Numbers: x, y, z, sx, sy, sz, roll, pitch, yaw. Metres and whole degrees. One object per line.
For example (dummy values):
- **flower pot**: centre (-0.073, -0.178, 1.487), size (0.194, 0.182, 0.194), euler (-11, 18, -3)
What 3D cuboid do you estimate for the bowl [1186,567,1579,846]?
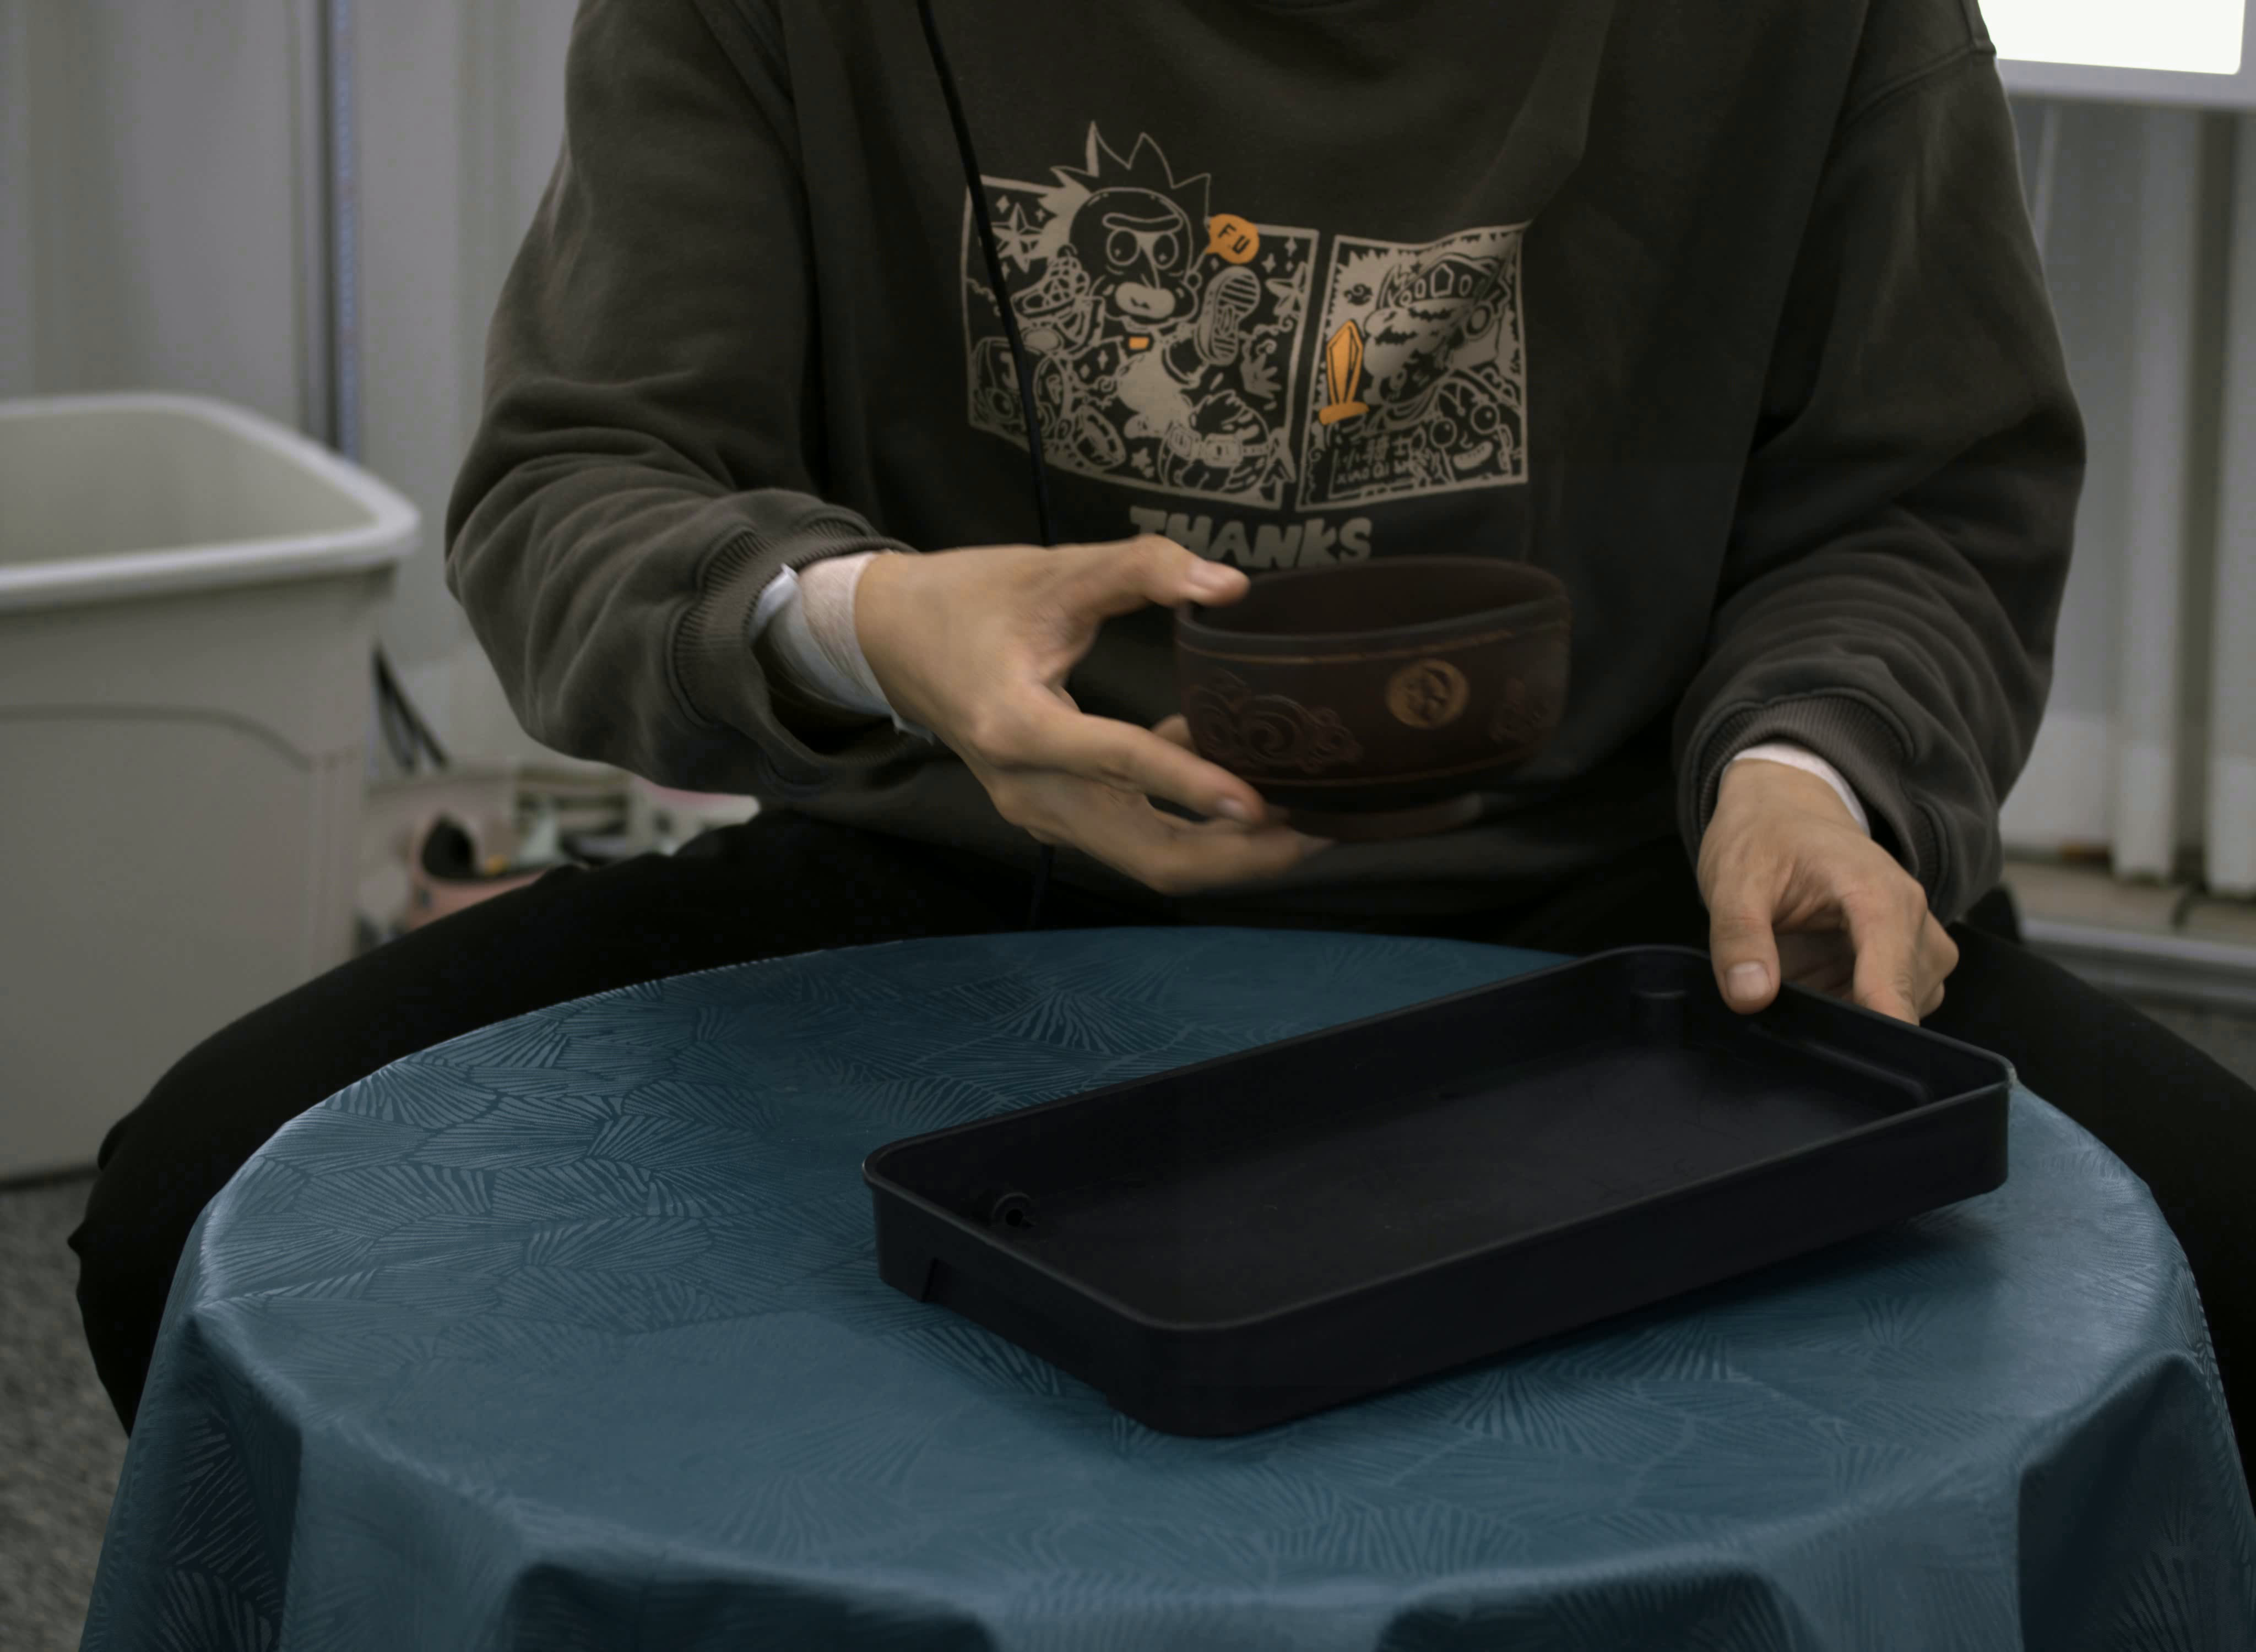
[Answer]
- **bowl**: centre (0.077, -0.034, 1.575), size (0.117, 0.070, 0.117), euler (-5, 11, 2)

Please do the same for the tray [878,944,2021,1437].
- **tray**: centre (0.099, 0.103, 1.577), size (0.319, 0.037, 0.182), euler (-15, 20, -34)
